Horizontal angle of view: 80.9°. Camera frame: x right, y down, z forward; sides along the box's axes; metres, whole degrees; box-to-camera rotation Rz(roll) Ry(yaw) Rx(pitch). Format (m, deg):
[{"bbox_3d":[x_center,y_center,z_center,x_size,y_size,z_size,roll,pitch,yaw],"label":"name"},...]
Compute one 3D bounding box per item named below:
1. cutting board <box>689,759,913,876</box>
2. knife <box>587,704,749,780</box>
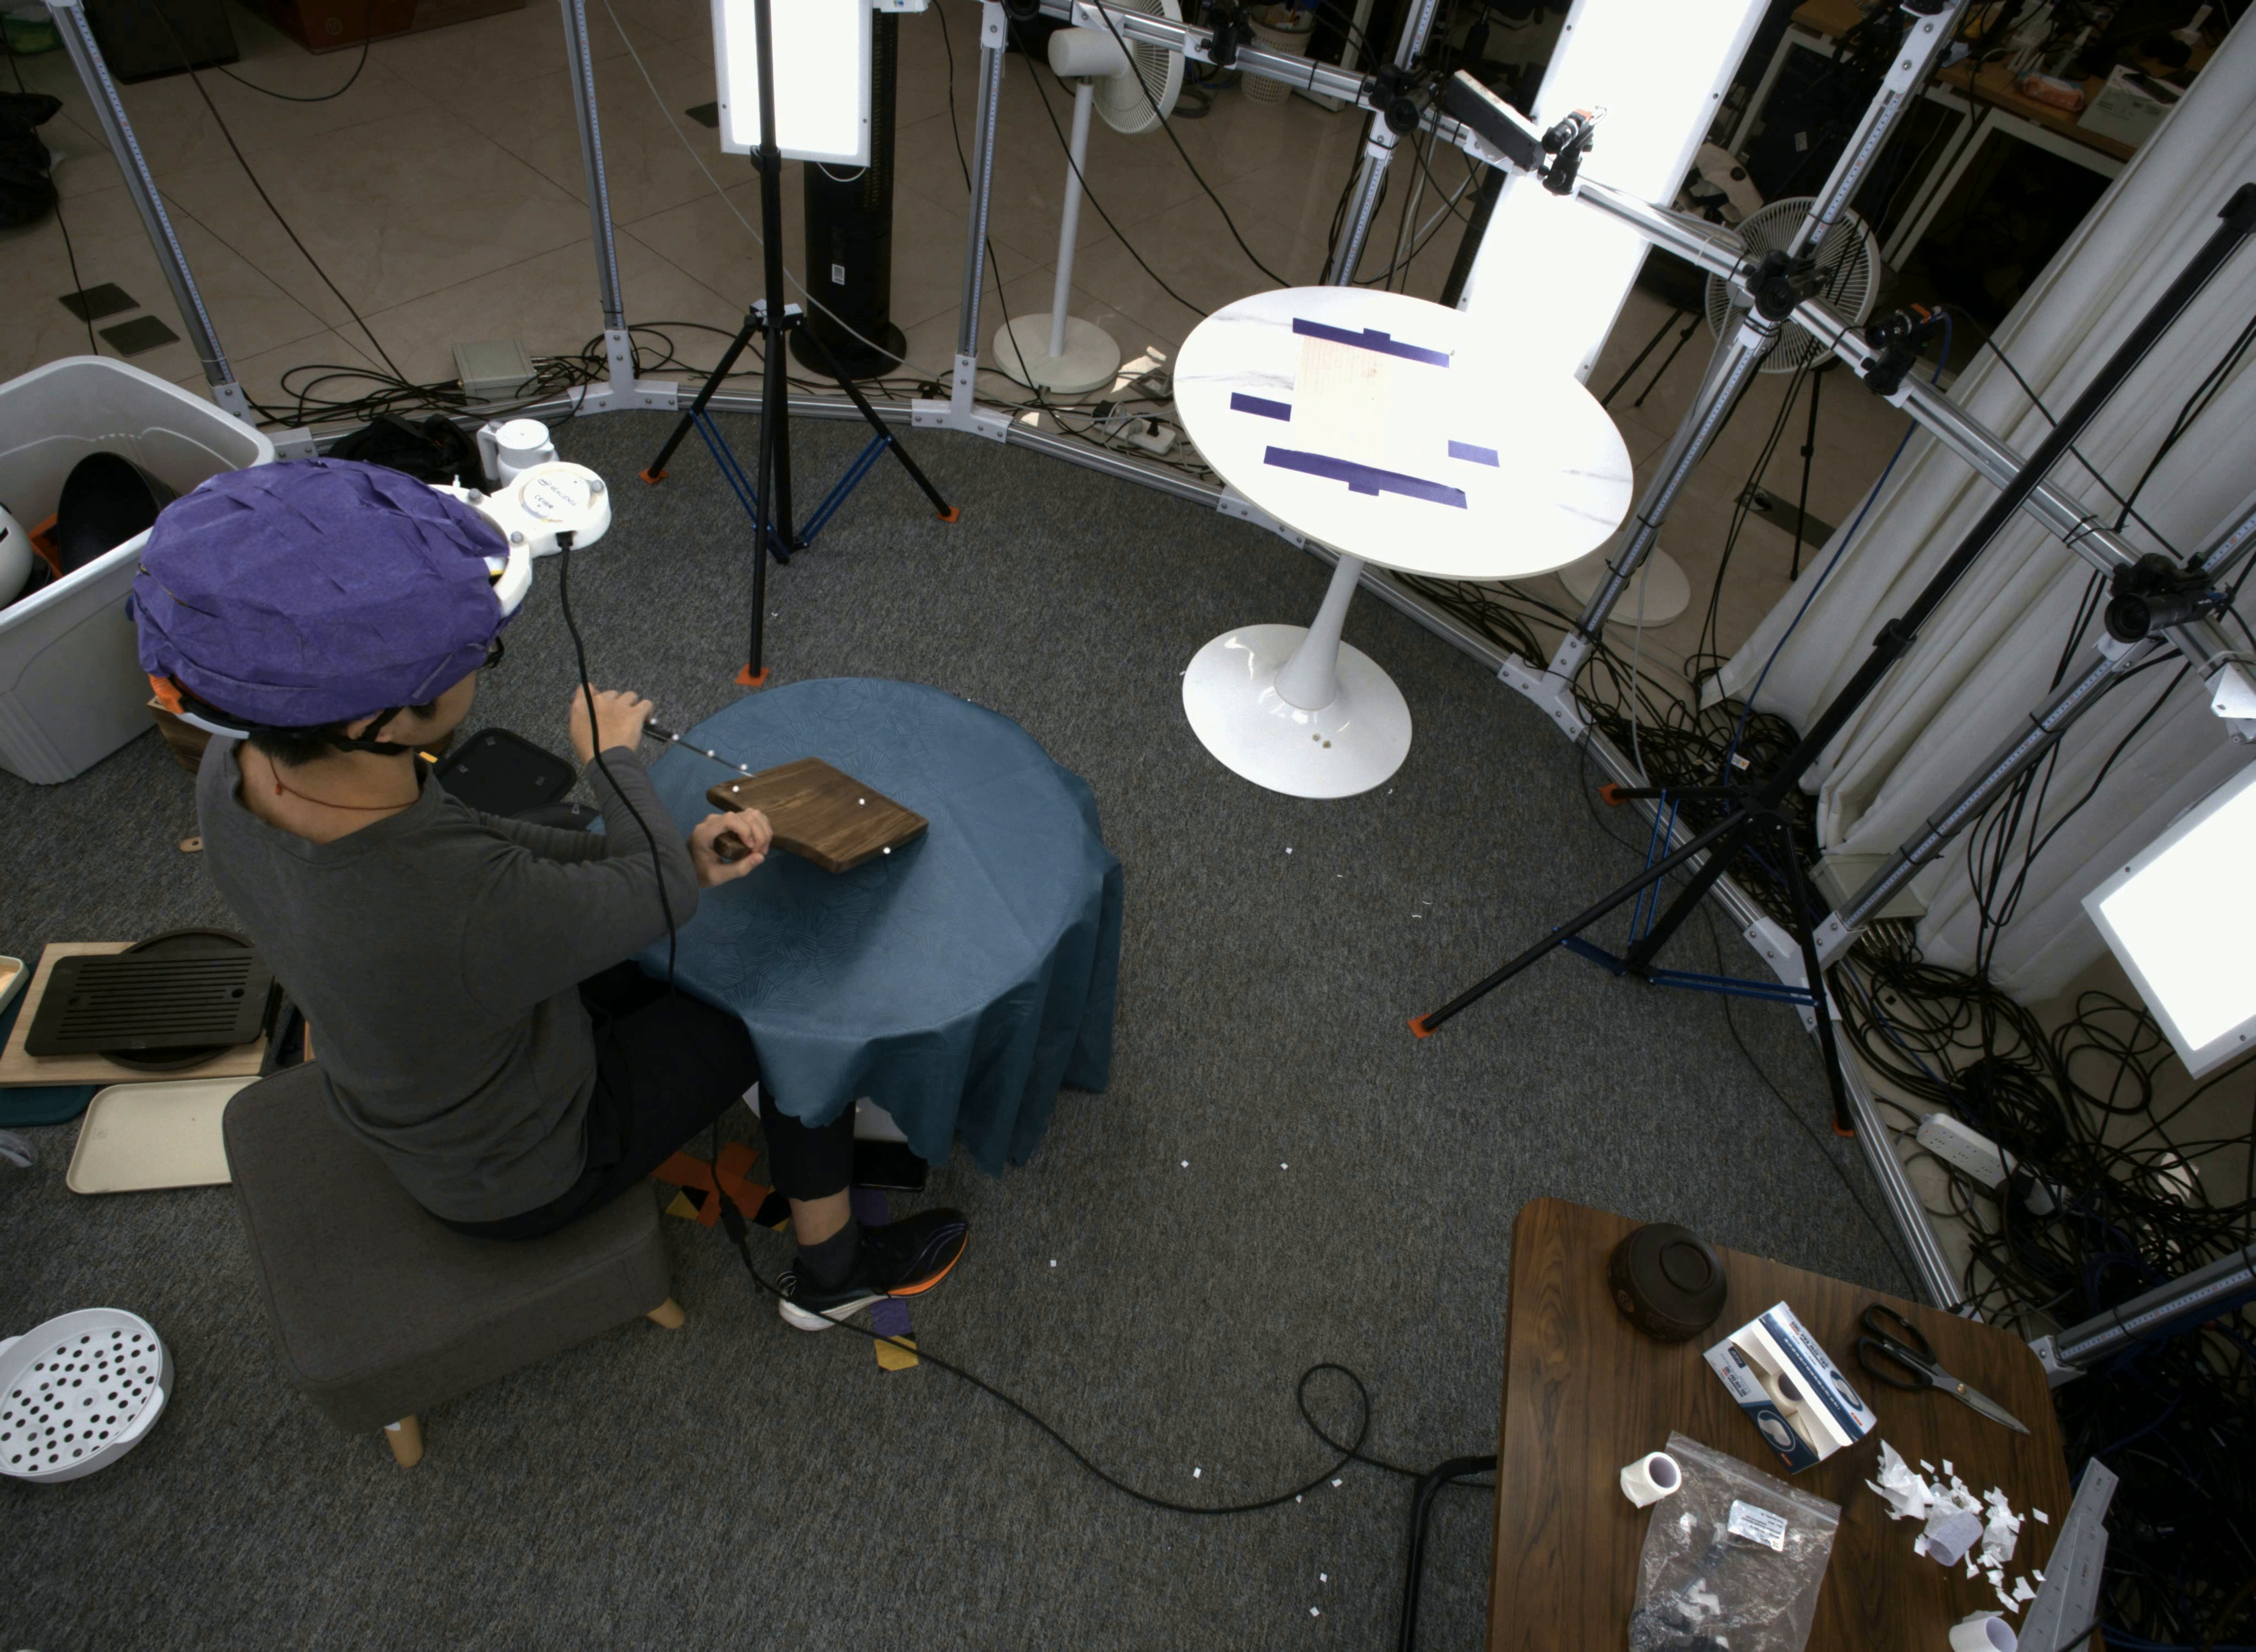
[{"bbox_3d":[-0.423,-0.008,1.606,0.198,0.023,0.352,28,18,8],"label":"cutting board"},{"bbox_3d":[-0.578,-0.104,1.592,0.237,0.016,0.024,23,16,-3],"label":"knife"}]
